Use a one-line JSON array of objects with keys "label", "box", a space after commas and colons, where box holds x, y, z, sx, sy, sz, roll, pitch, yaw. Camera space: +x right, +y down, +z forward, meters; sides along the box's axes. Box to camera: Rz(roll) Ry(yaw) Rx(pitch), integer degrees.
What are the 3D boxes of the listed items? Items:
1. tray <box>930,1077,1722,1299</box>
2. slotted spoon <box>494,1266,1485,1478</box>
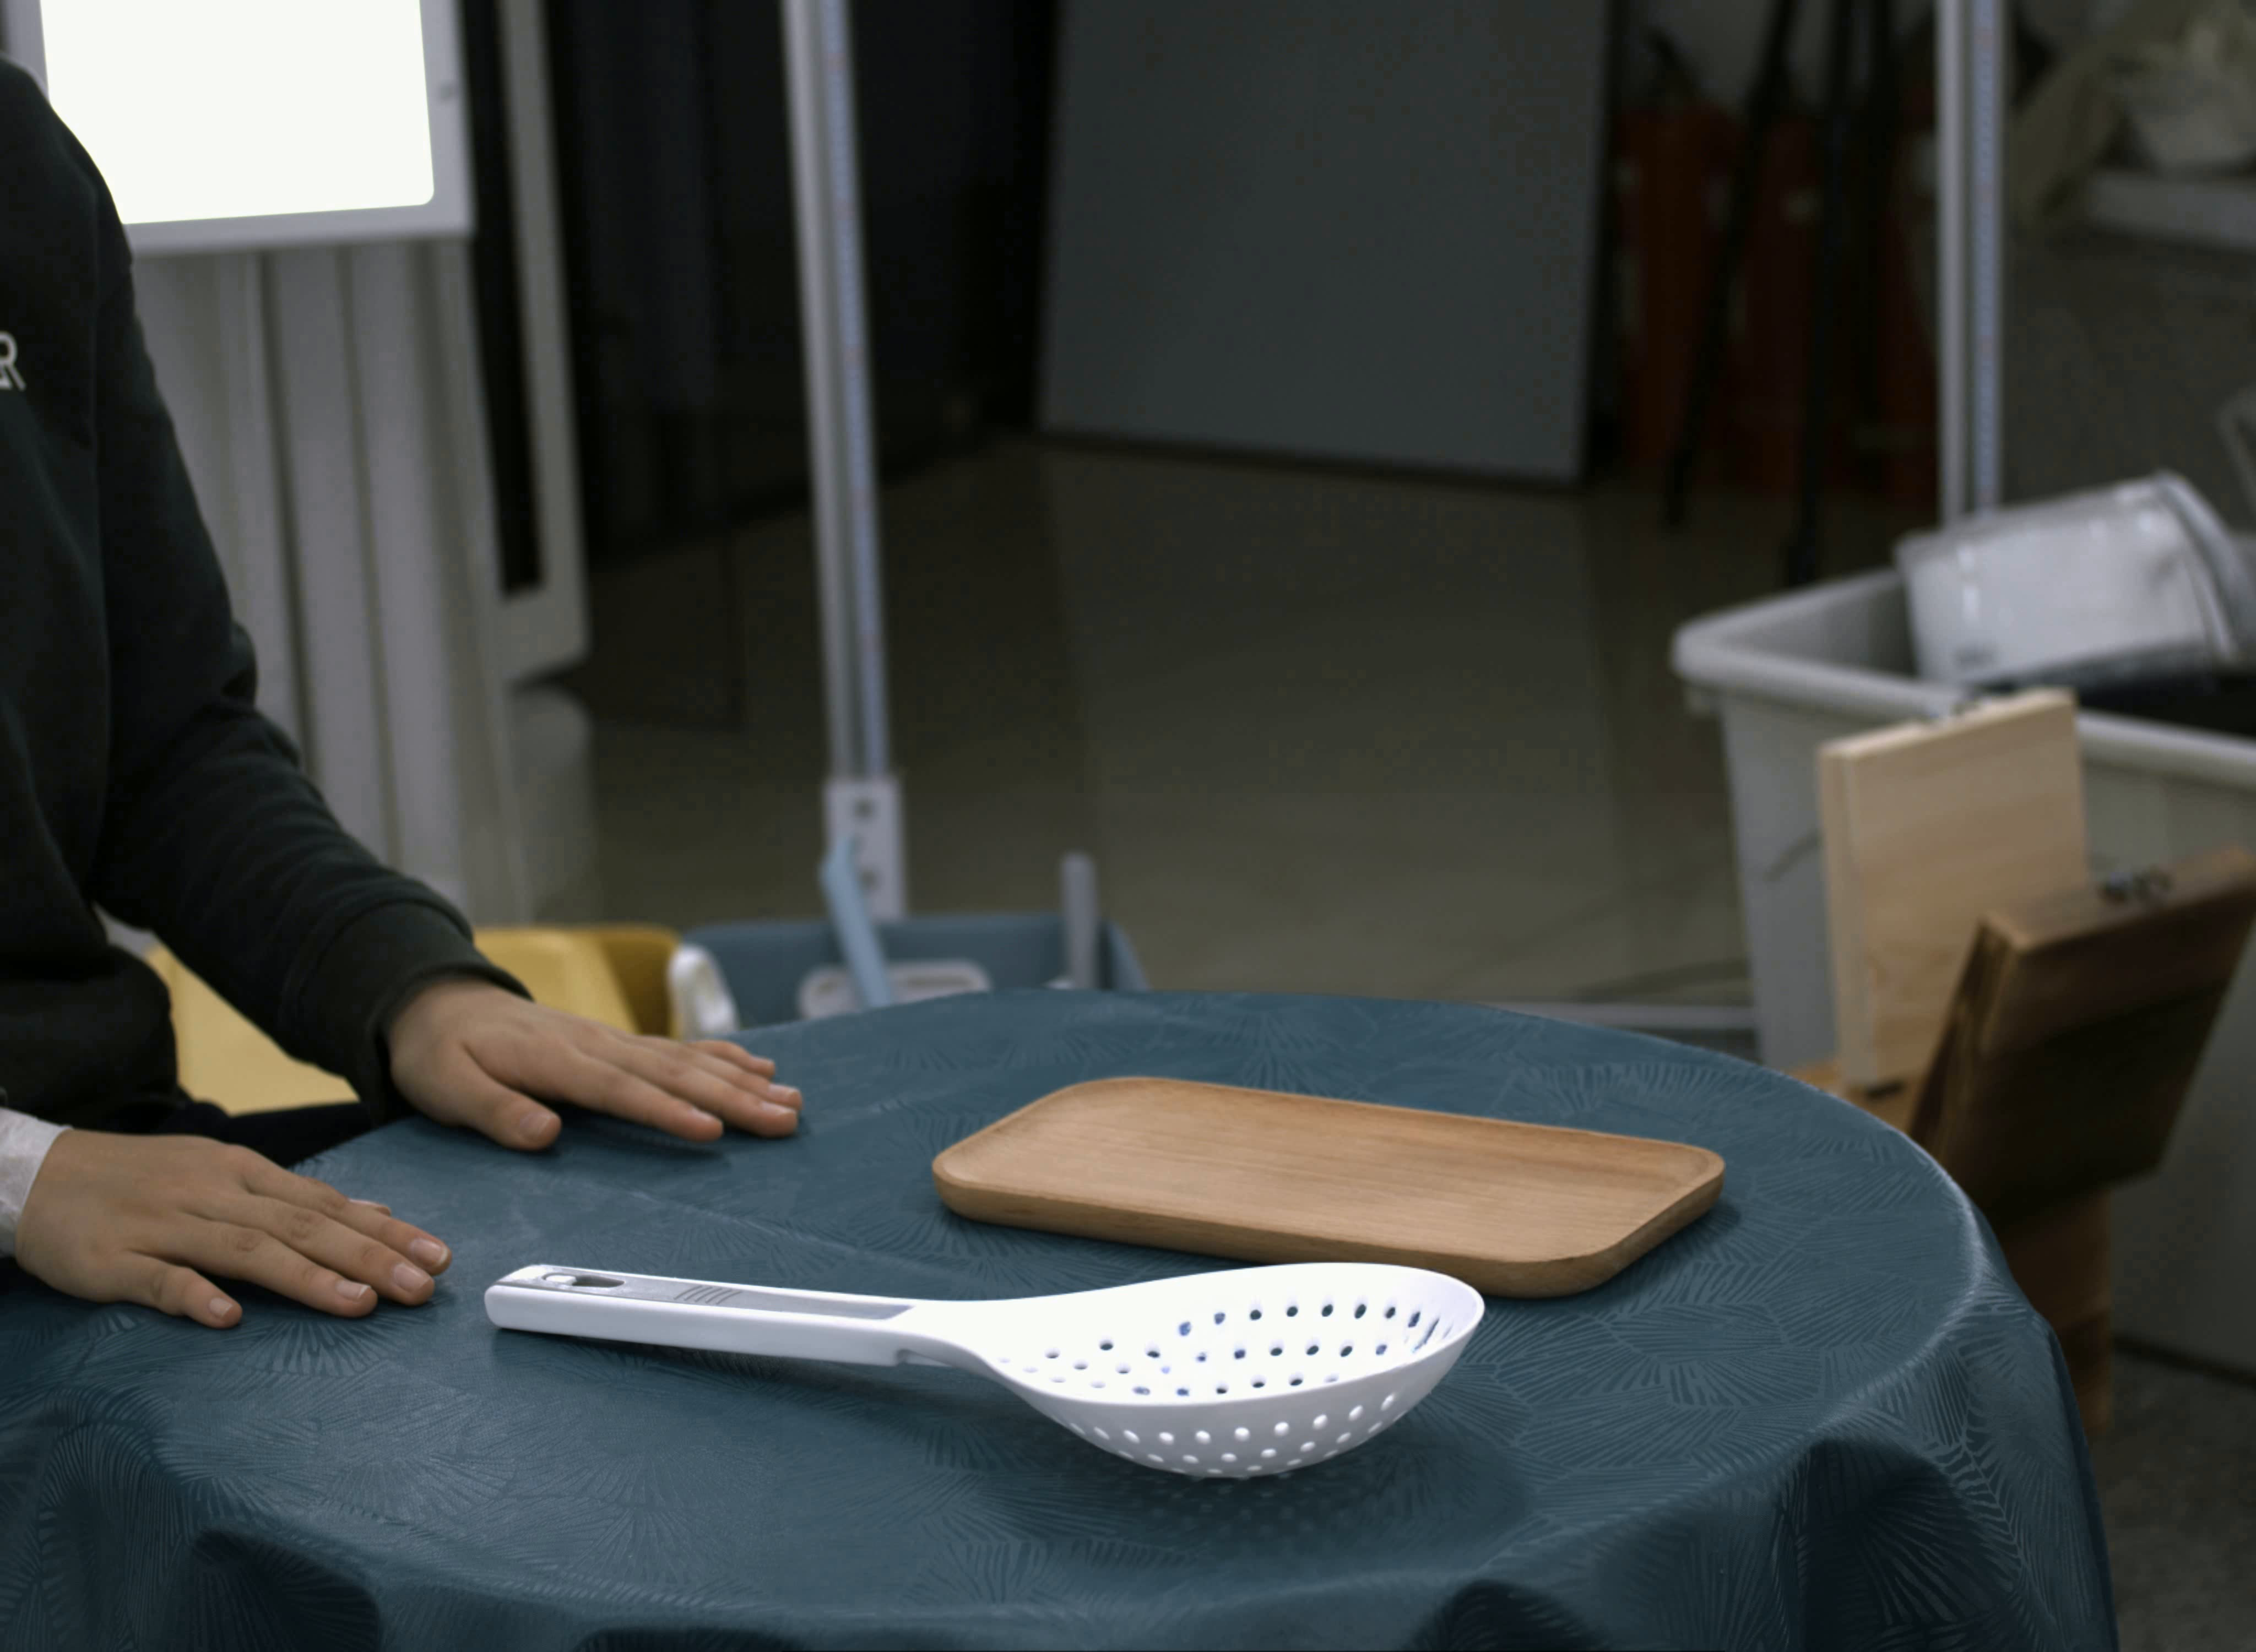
[{"label": "tray", "box": [0.063, 0.116, 1.741, 0.252, 0.023, 0.128, 4, 14, 33]}, {"label": "slotted spoon", "box": [-0.052, 0.149, 1.579, 0.352, 0.046, 0.133, 5, 14, 36]}]
